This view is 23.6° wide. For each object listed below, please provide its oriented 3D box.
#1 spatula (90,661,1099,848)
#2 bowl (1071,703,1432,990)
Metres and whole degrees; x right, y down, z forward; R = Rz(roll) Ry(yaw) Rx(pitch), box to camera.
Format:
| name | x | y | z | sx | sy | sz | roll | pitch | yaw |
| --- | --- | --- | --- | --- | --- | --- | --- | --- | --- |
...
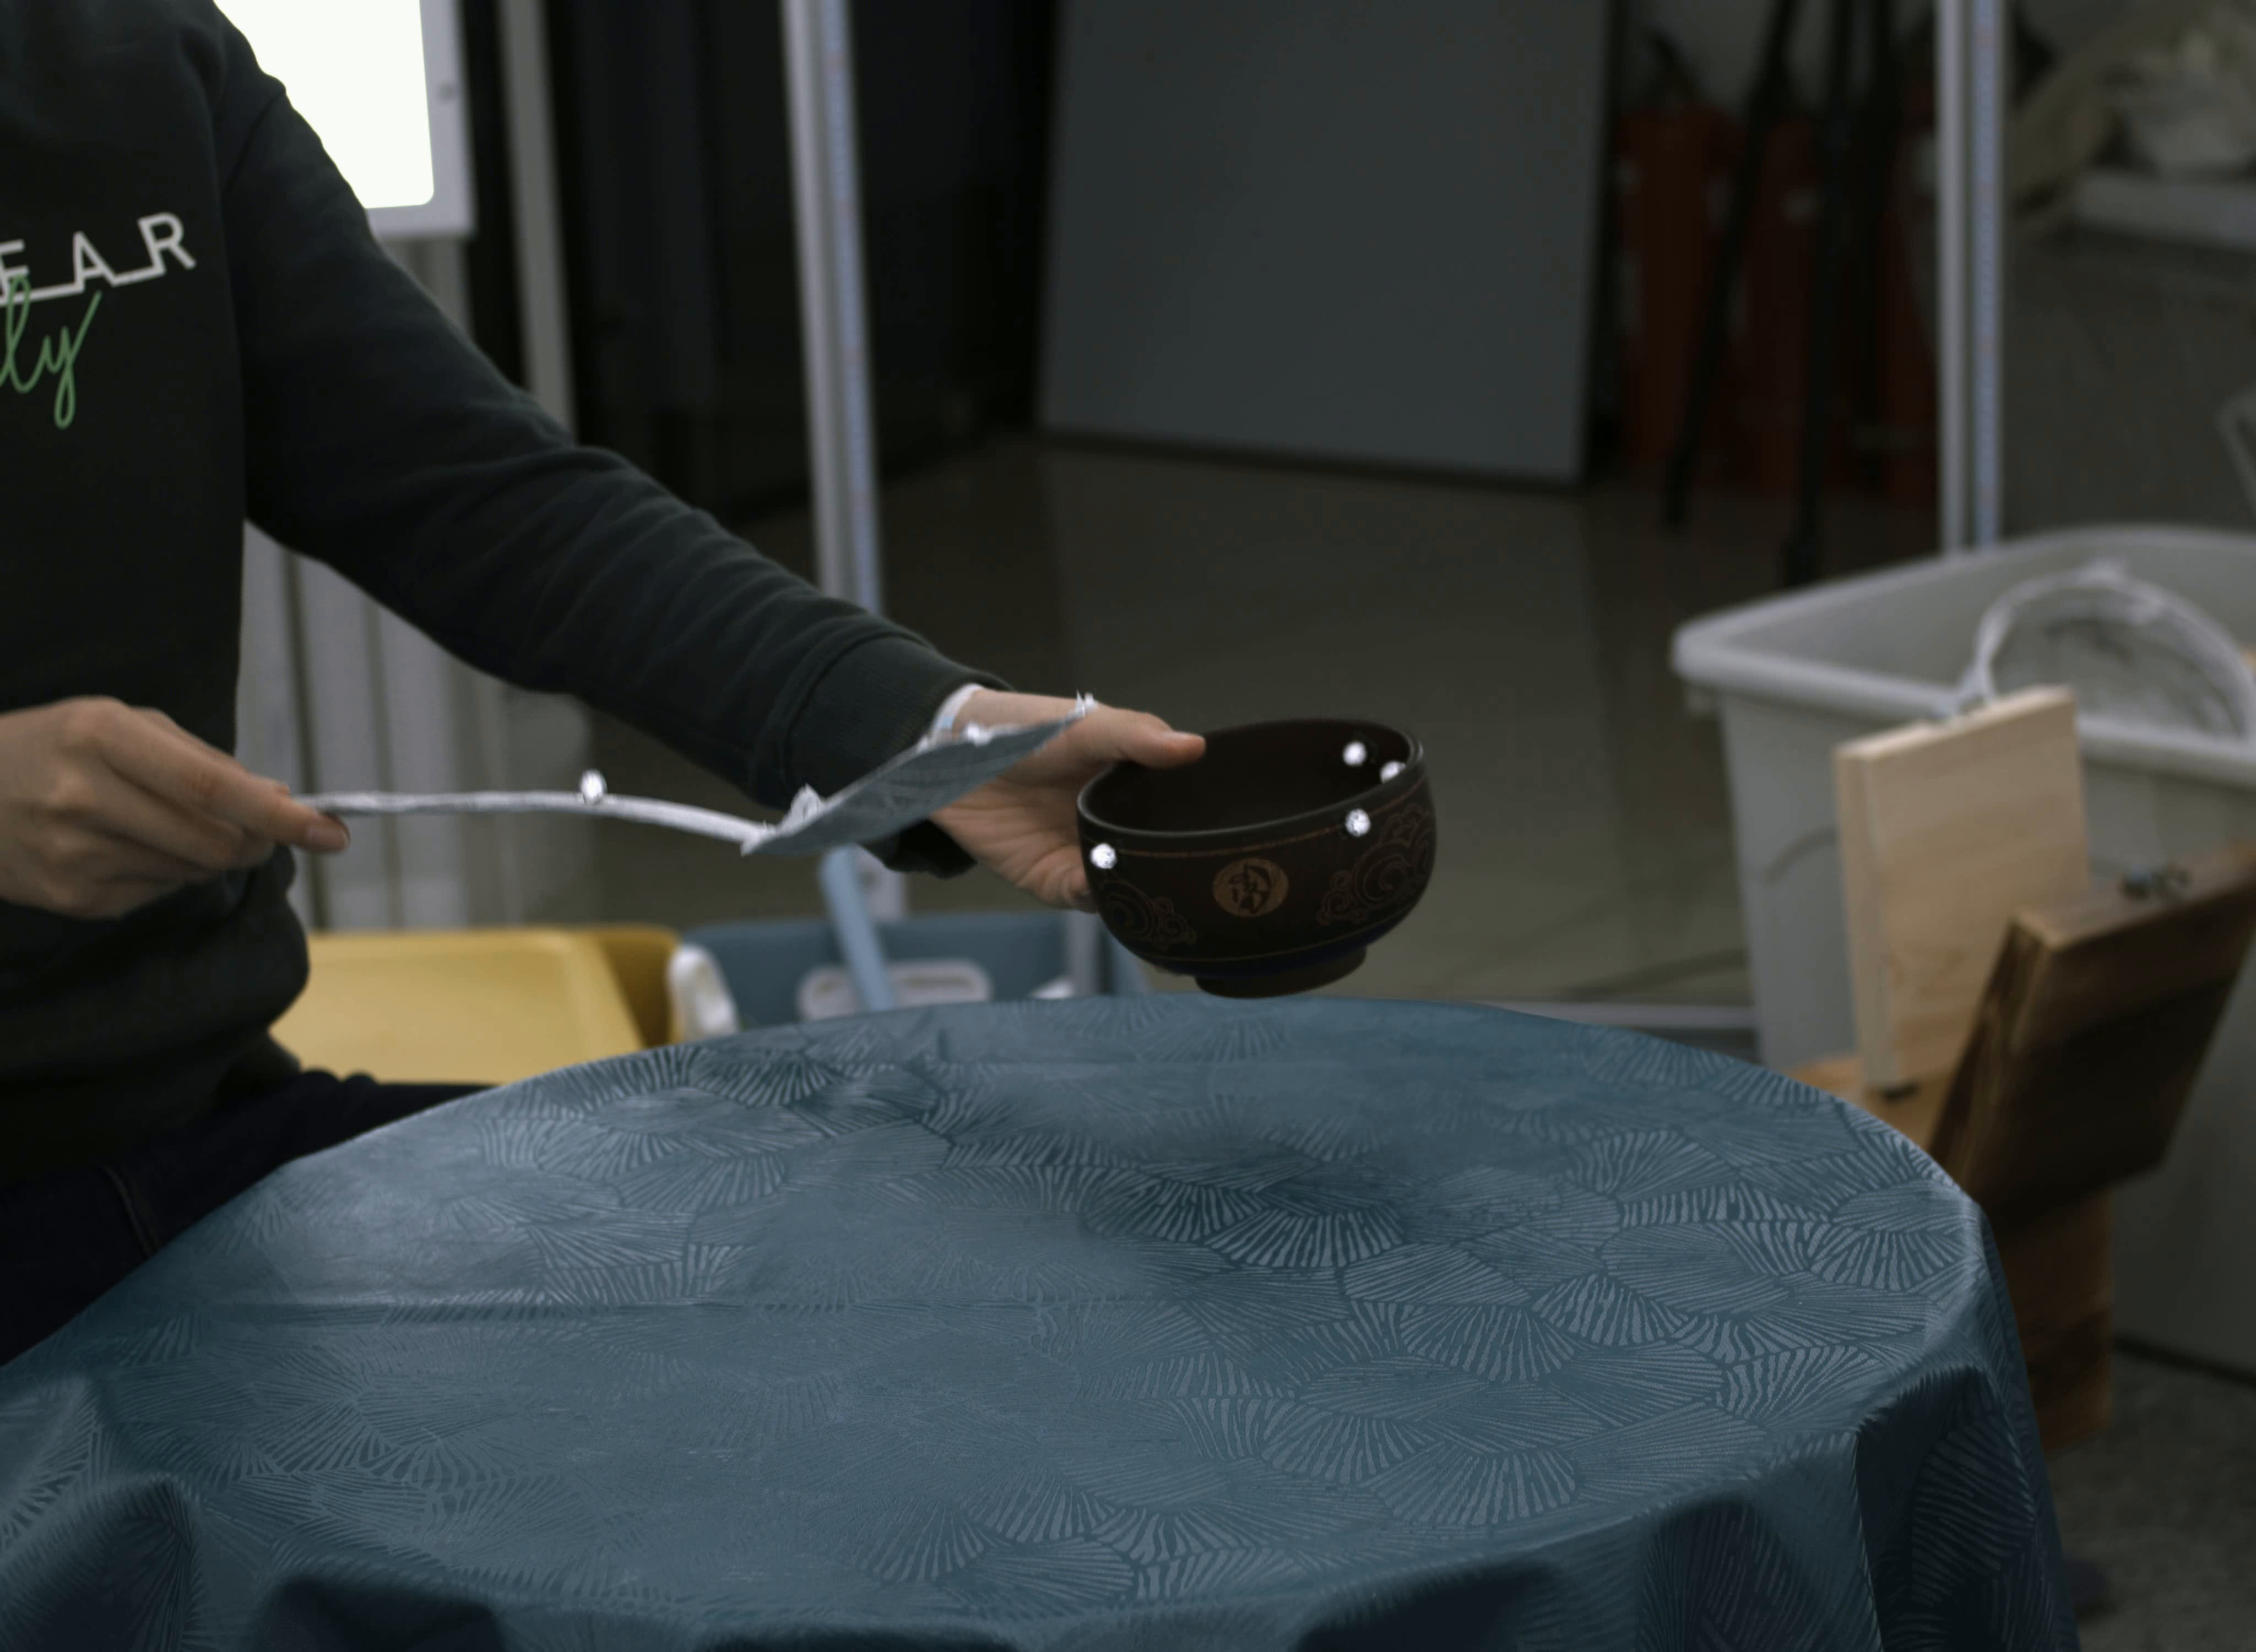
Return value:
| name | x | y | z | sx | sy | sz | roll | pitch | yaw |
| --- | --- | --- | --- | --- | --- | --- | --- | --- | --- |
| spatula | -0.176 | -0.017 | 1.610 | 0.366 | 0.045 | 0.097 | -1 | 9 | 30 |
| bowl | 0.043 | 0.011 | 1.754 | 0.117 | 0.070 | 0.118 | -11 | 16 | 2 |
